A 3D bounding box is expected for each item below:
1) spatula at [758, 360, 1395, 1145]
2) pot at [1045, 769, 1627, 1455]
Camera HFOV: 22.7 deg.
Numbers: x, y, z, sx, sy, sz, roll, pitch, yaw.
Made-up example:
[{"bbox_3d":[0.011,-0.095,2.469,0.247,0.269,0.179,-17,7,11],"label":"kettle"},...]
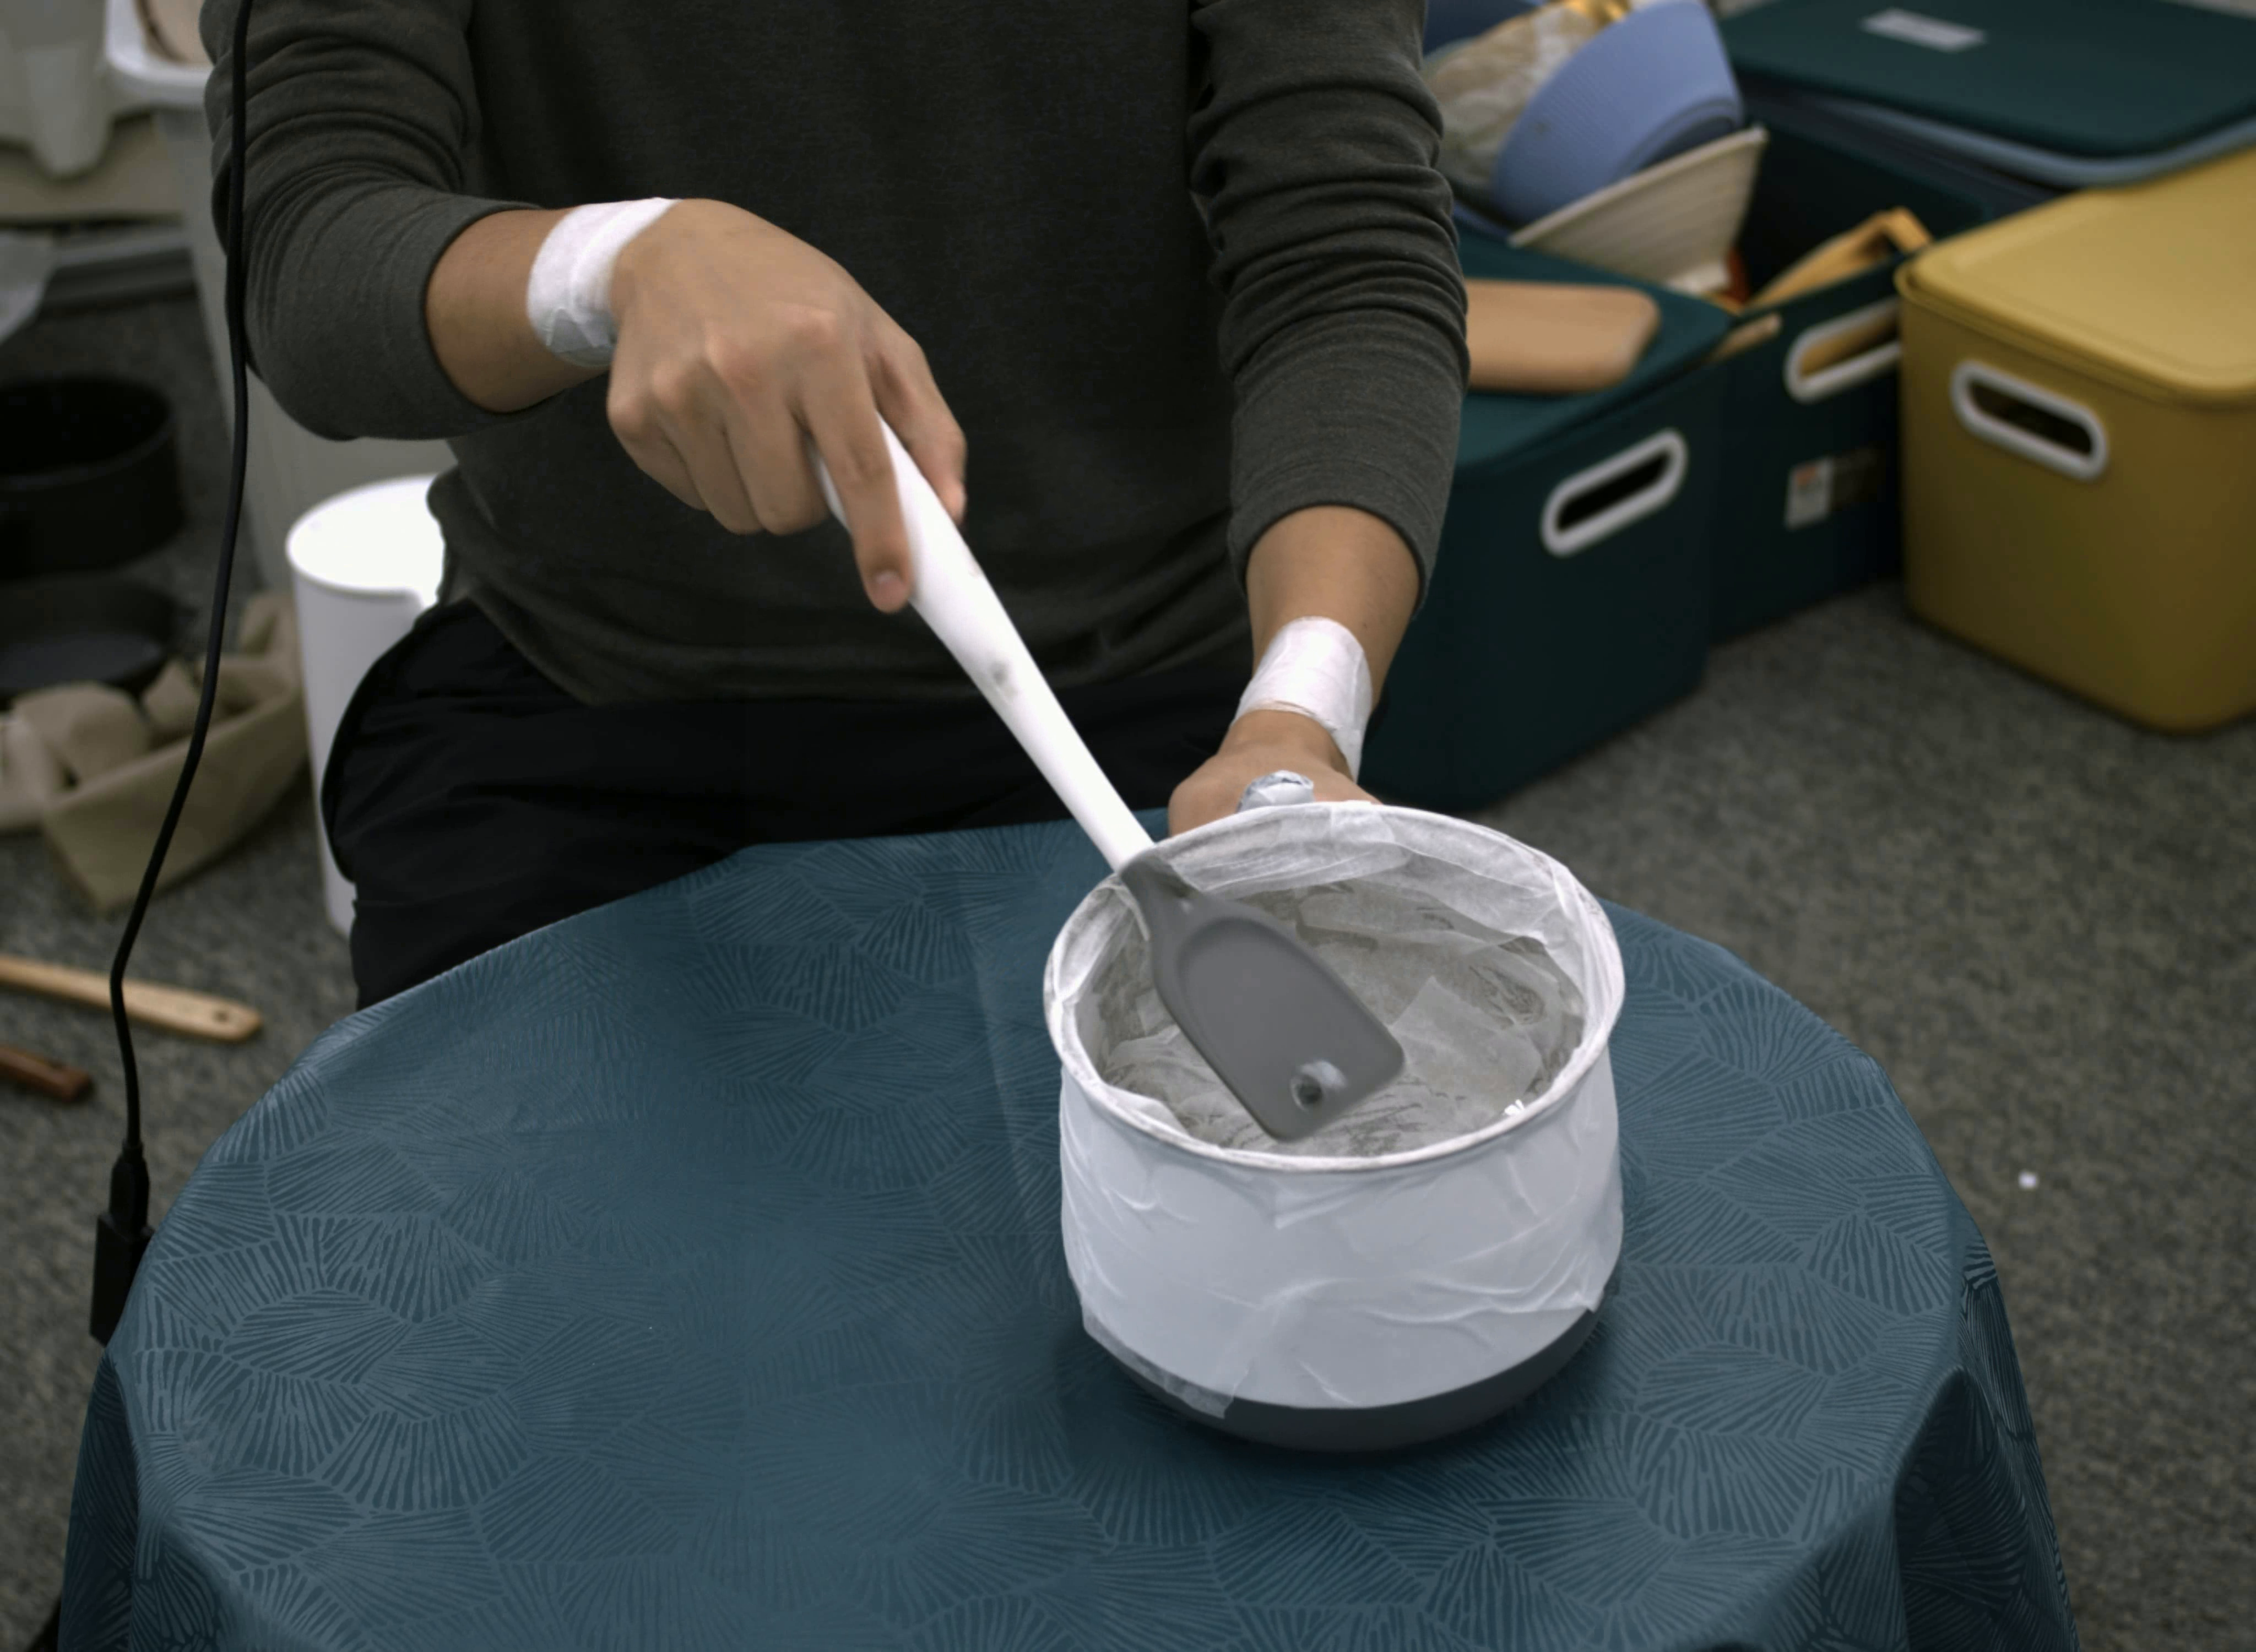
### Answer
[{"bbox_3d":[-0.021,-0.025,1.732,0.059,0.032,0.289,-30,74,-24],"label":"spatula"},{"bbox_3d":[0.062,0.080,1.763,0.178,0.135,0.237,-7,36,-6],"label":"pot"}]
